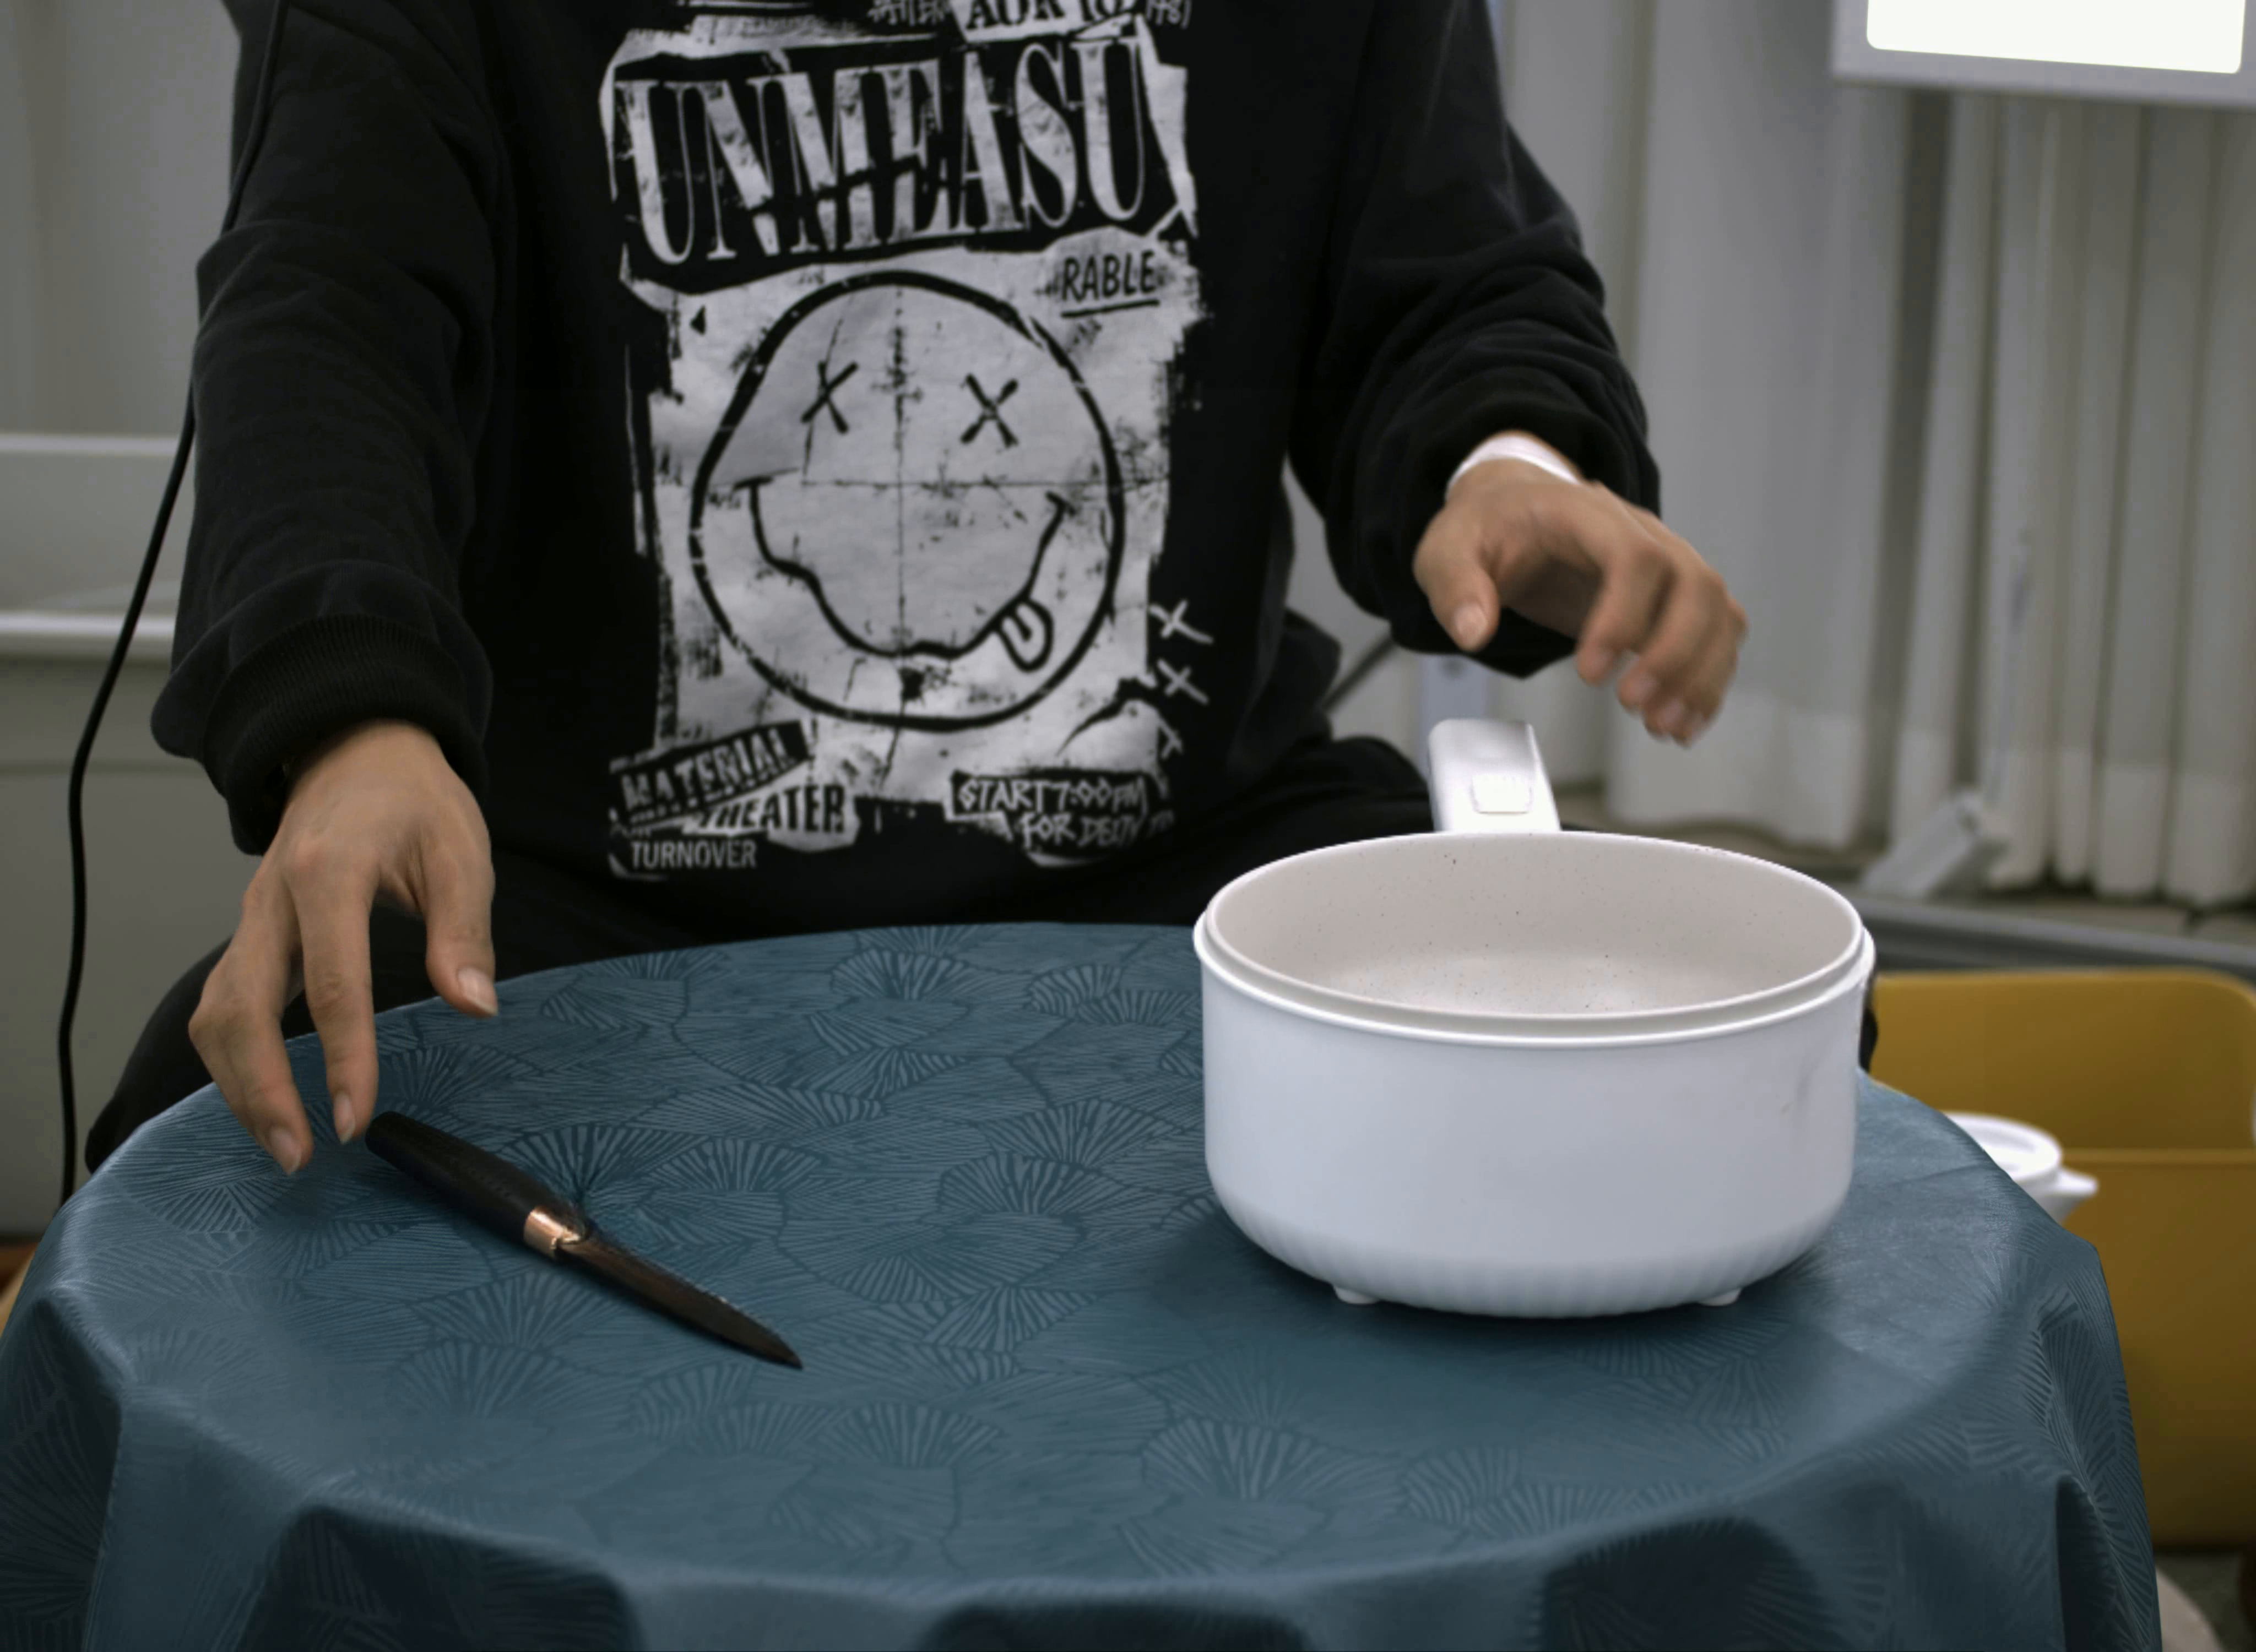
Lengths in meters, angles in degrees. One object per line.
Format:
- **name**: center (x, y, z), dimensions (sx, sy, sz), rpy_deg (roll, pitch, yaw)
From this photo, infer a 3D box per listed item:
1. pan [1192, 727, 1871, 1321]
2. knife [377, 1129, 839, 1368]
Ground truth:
- **pan**: center (0.121, 0.057, 1.645), dimensions (0.200, 0.103, 0.353), rpy_deg (-1, 15, 1)
- **knife**: center (-0.157, 0.125, 1.556), dimensions (0.026, 0.017, 0.222), rpy_deg (7, 9, -42)
